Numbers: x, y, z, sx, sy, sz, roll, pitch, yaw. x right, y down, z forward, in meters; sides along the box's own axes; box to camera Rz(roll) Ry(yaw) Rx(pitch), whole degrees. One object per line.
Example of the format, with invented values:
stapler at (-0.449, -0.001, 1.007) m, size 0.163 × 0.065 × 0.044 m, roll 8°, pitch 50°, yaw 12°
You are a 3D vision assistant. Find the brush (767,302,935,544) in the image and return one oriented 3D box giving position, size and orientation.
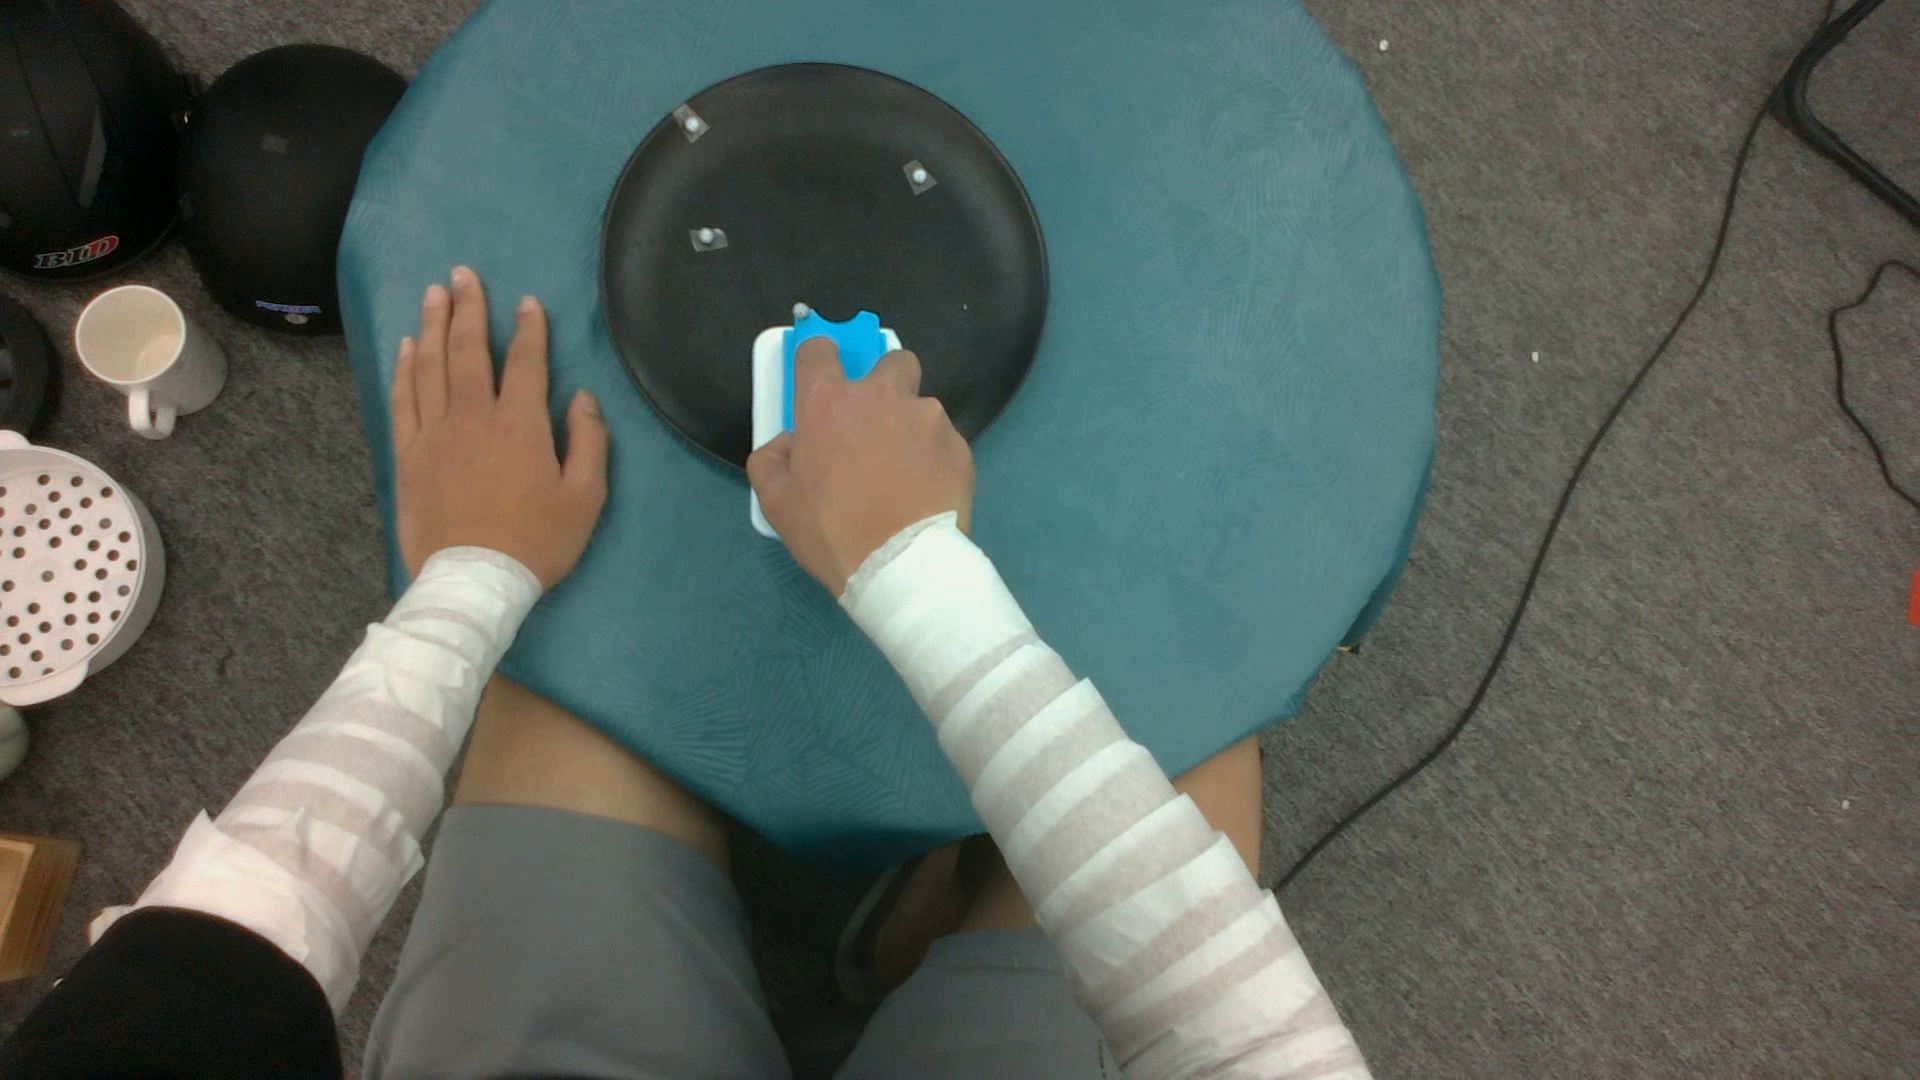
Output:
brush at (-0.058, -0.067, 0.703) m, size 0.084 × 0.055 × 0.144 m, roll -4°, pitch 54°, yaw -3°

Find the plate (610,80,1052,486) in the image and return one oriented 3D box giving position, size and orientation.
plate at (-0.069, -0.141, 0.767) m, size 0.244 × 0.023 × 0.245 m, roll 2°, pitch 78°, yaw -8°
